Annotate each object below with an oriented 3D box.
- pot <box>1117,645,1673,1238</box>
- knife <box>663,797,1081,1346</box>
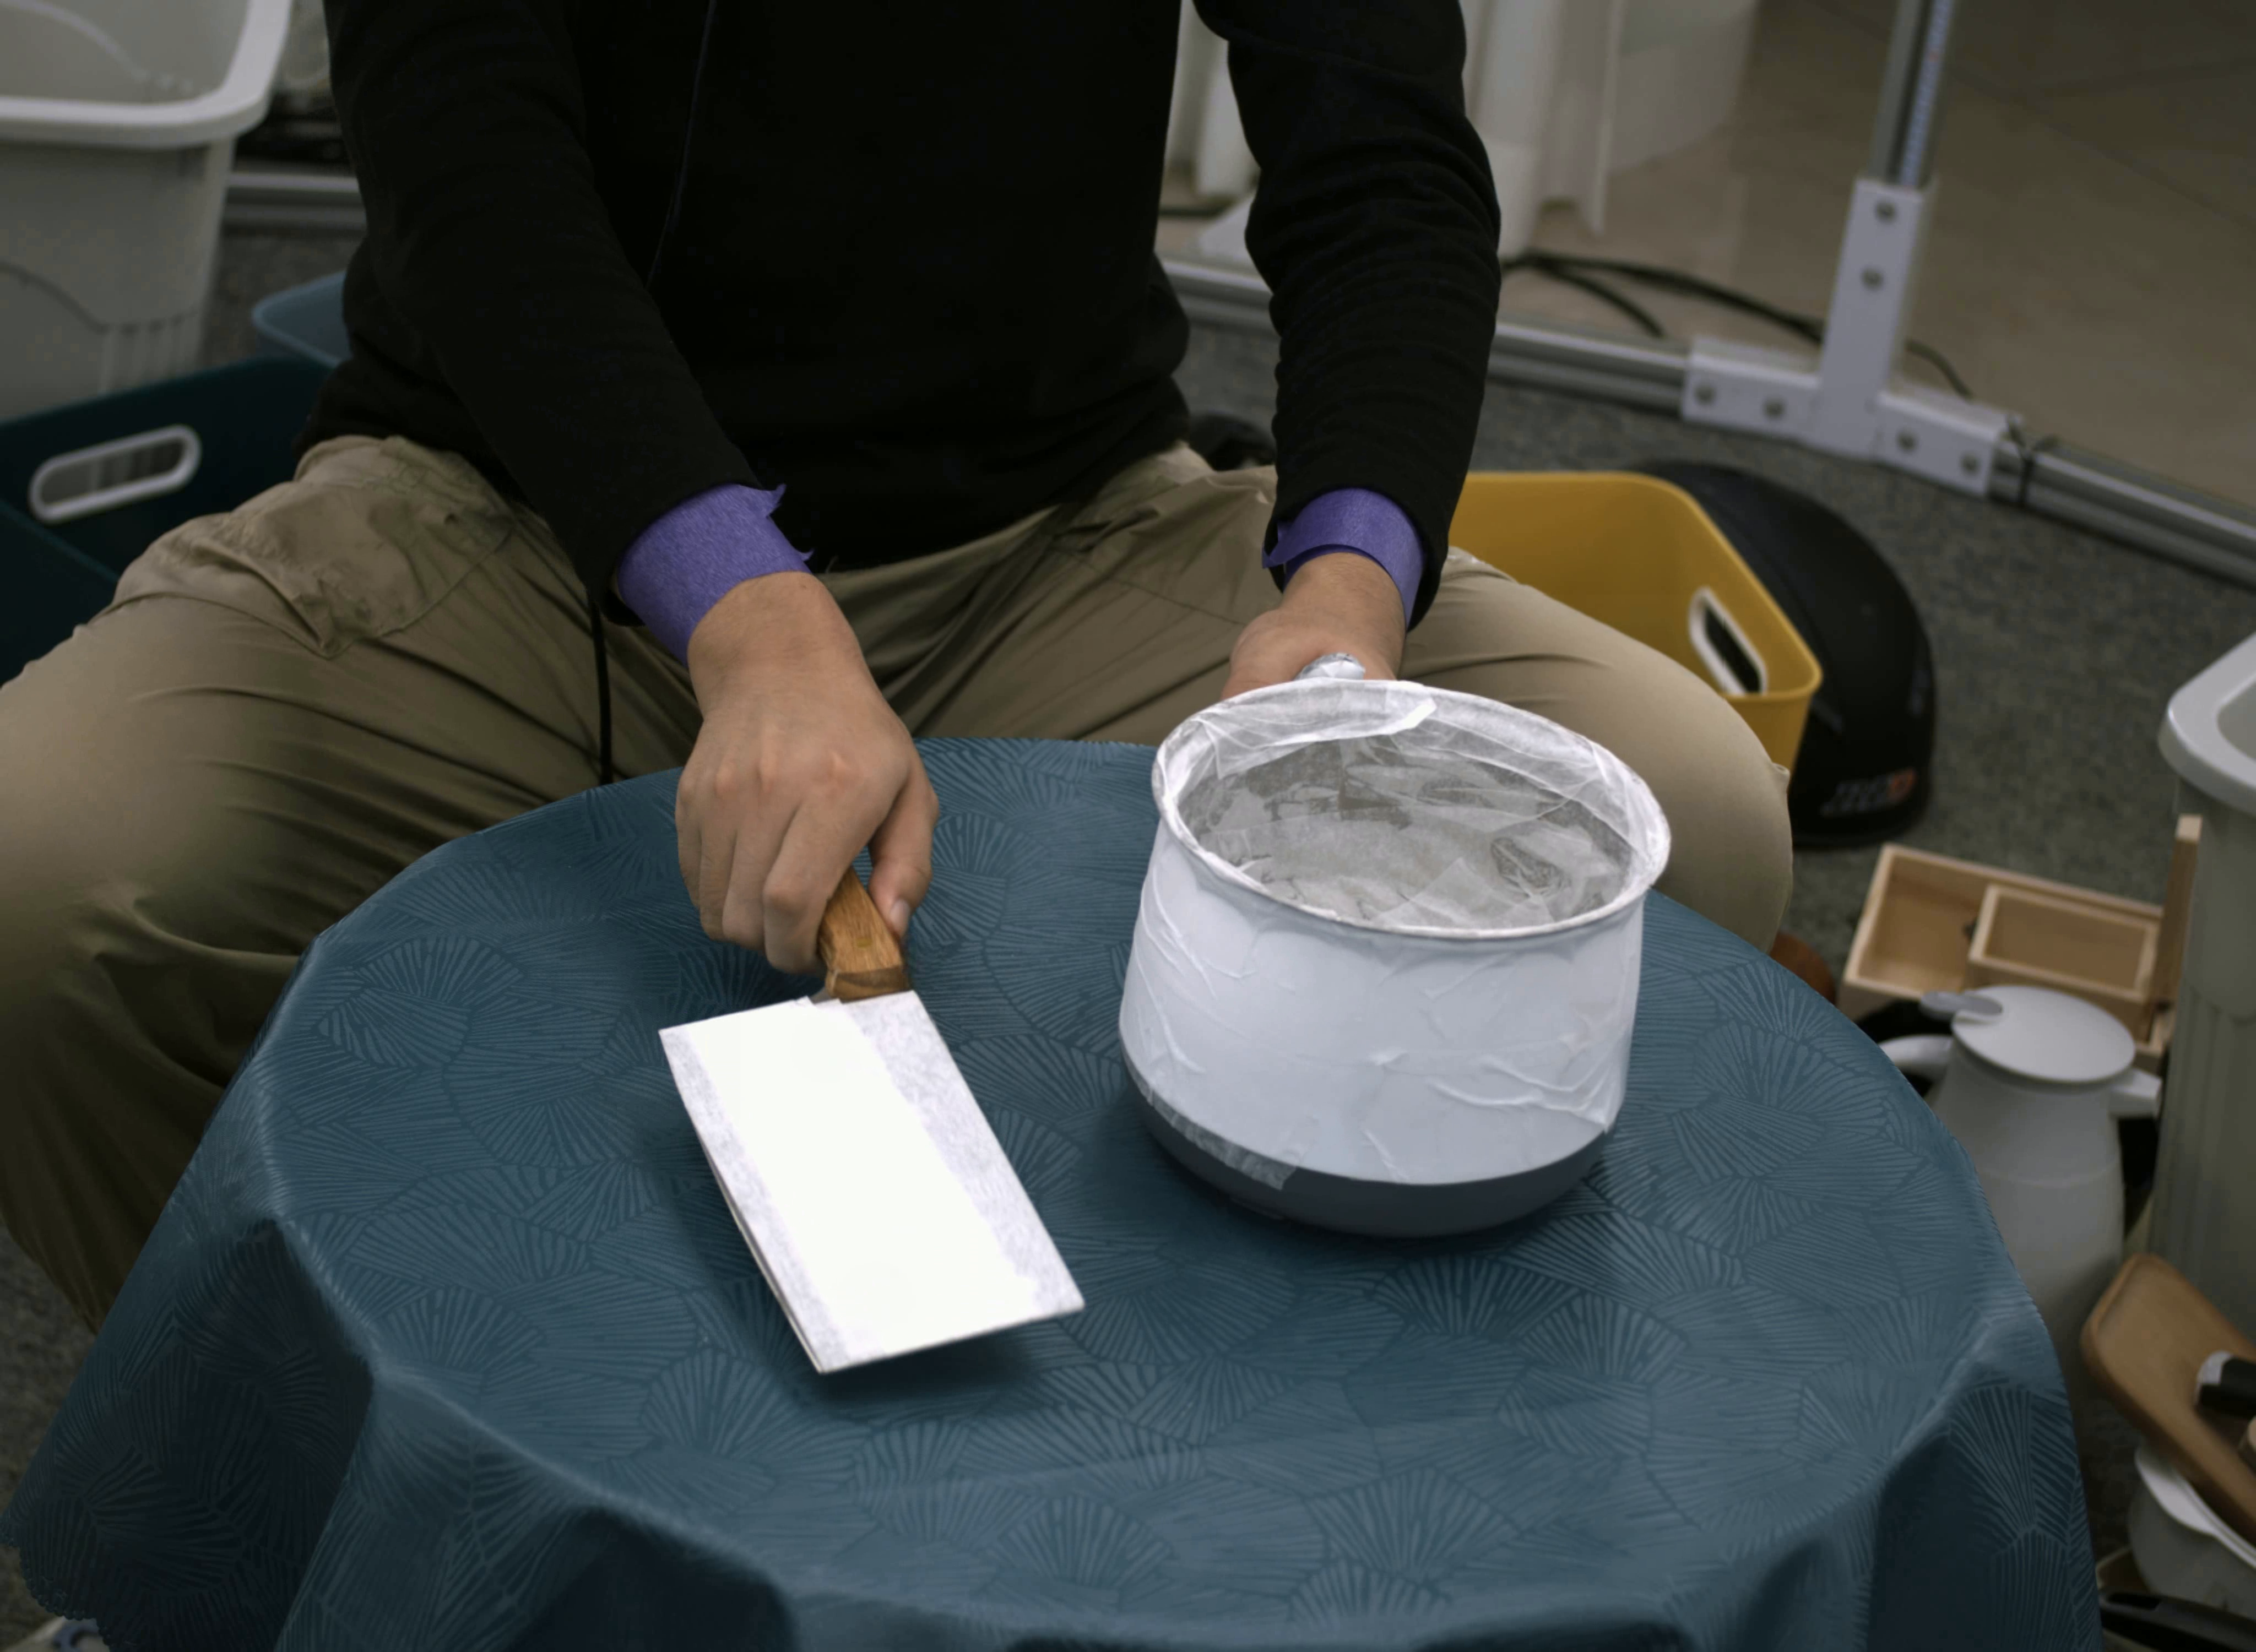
[{"bbox_3d":[0.081,0.032,1.844,0.177,0.136,0.236,0,30,-15],"label":"pot"},{"bbox_3d":[-0.104,0.080,1.791,0.092,0.021,0.308,-11,34,-15],"label":"knife"}]
